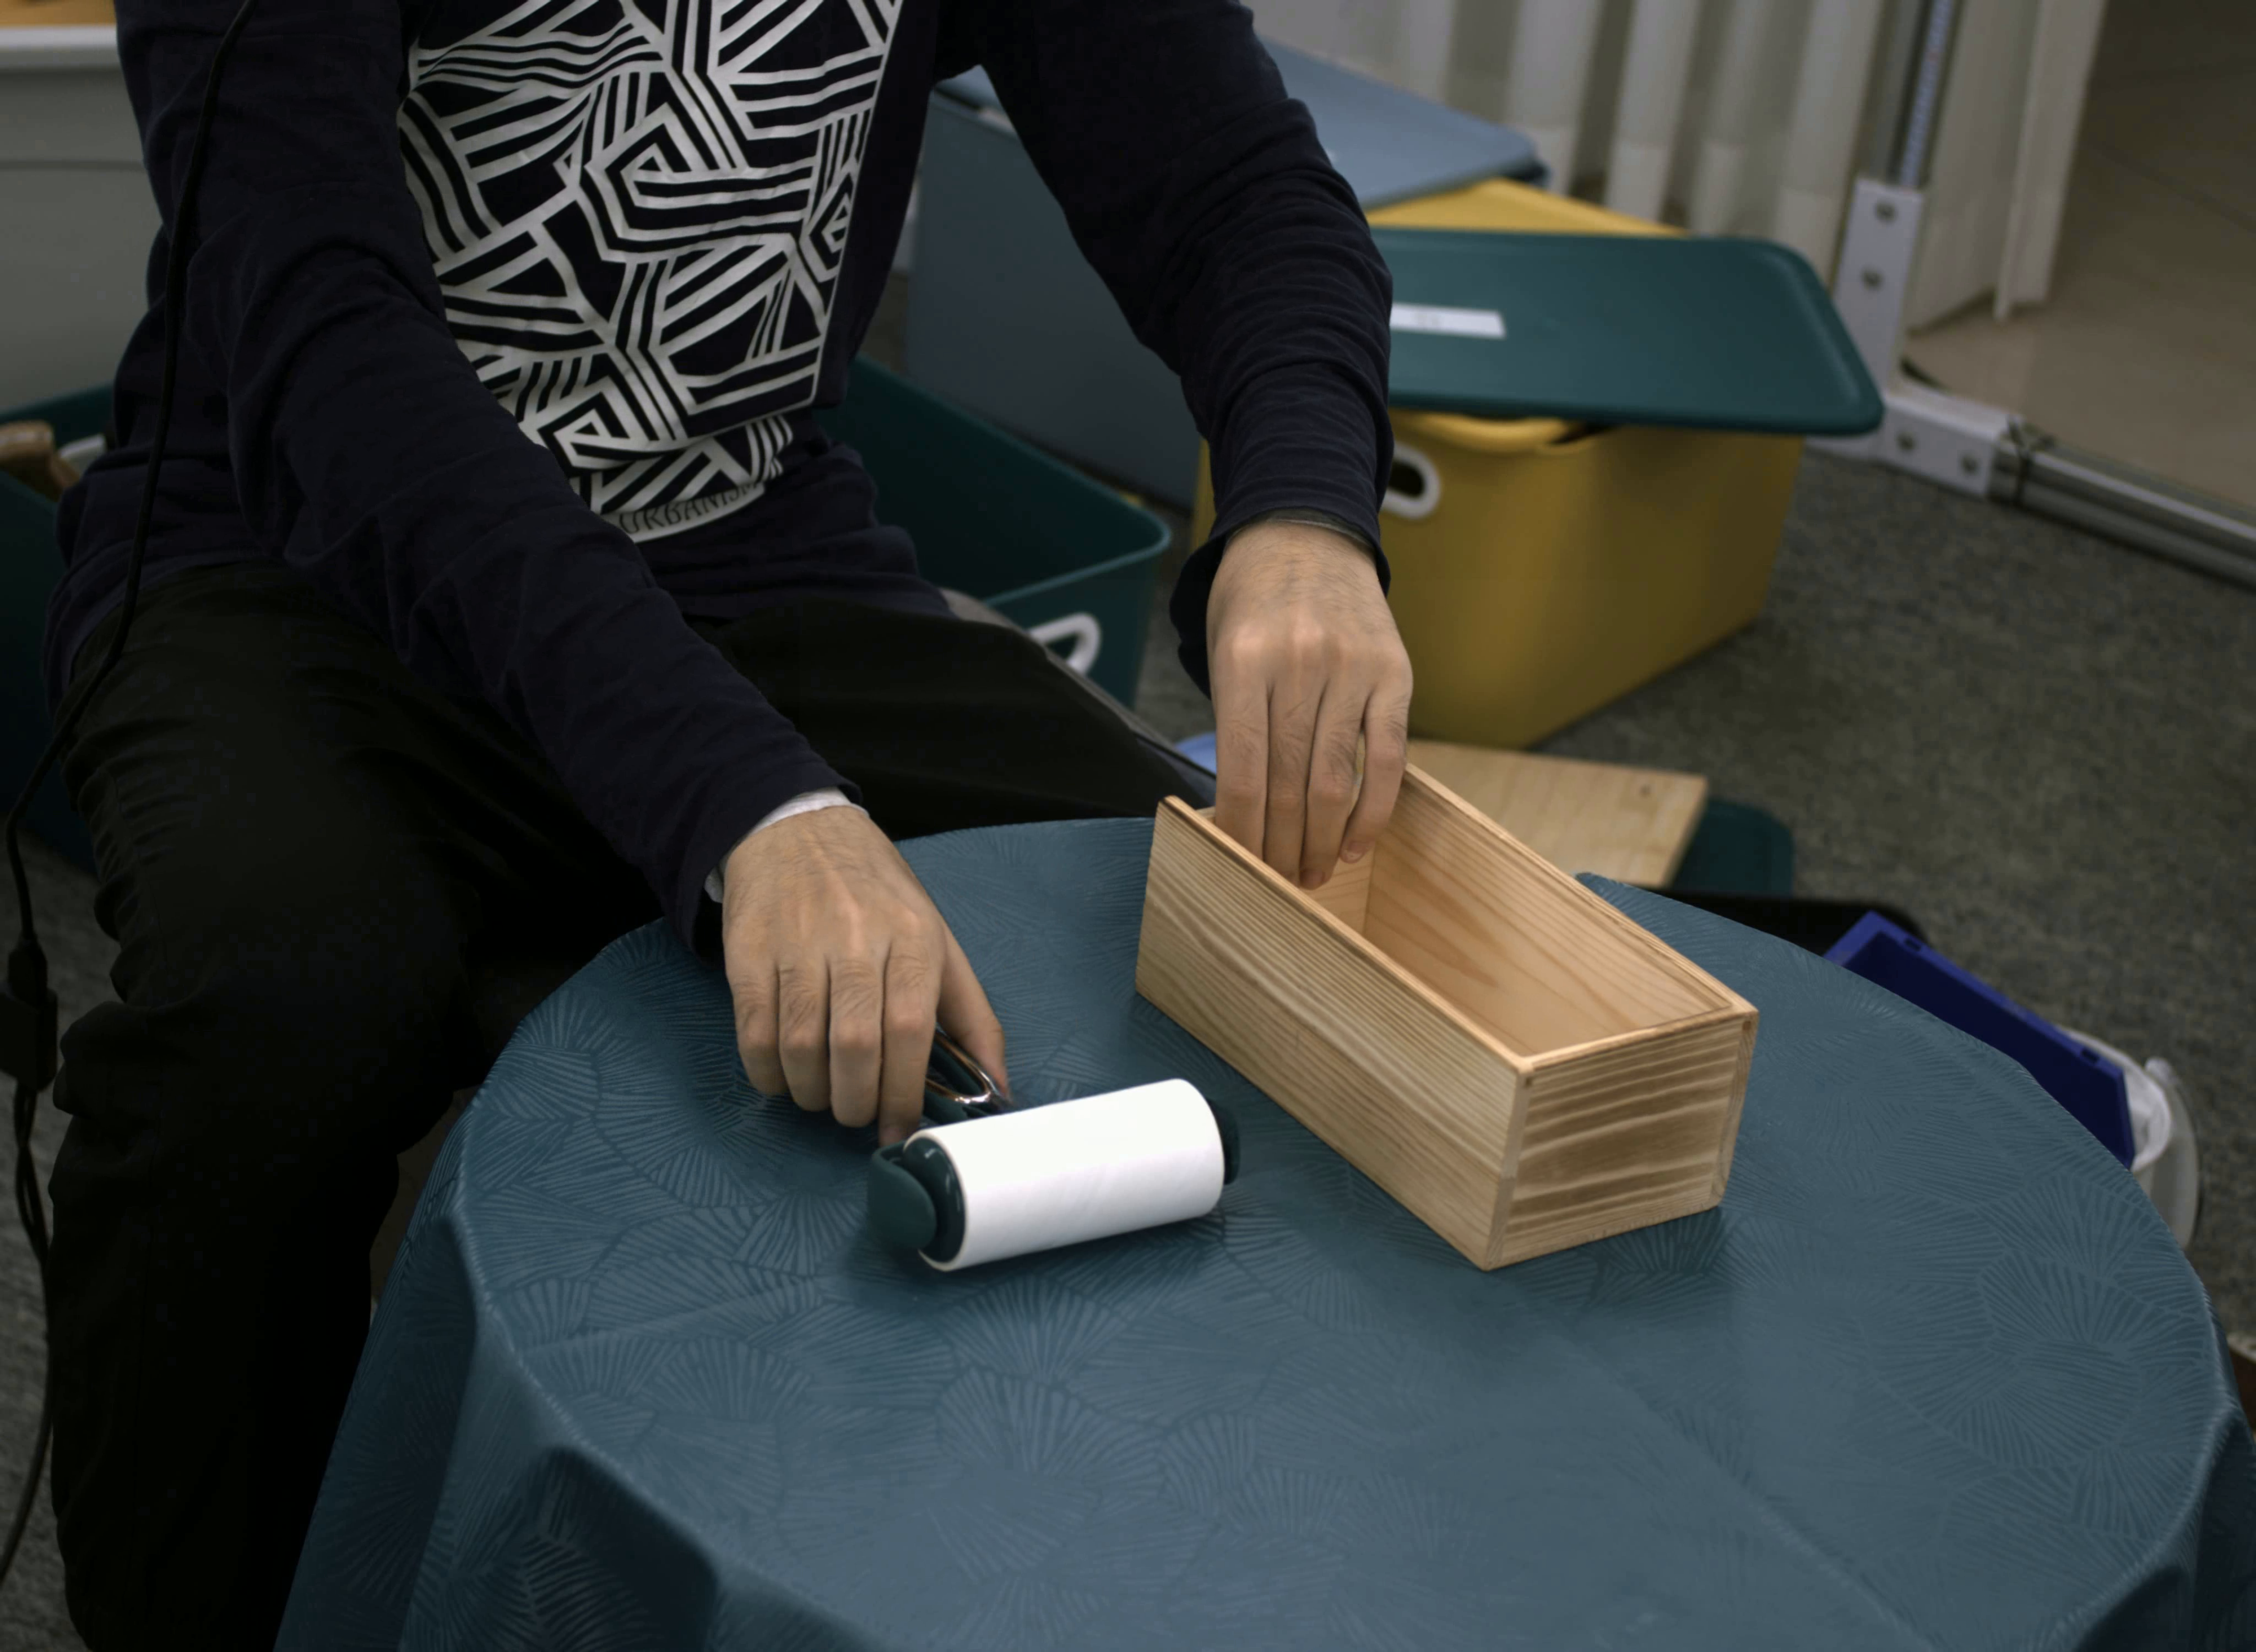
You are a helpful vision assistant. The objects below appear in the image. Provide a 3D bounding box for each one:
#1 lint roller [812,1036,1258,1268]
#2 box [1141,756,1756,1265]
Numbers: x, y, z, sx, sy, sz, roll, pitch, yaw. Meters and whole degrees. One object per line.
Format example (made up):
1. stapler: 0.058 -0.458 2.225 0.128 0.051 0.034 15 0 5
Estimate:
1. lint roller: -0.057 0.091 1.817 0.133 0.048 0.181 -10 26 -29
2. box: 0.109 0.062 1.866 0.107 0.080 0.213 -13 31 -32
